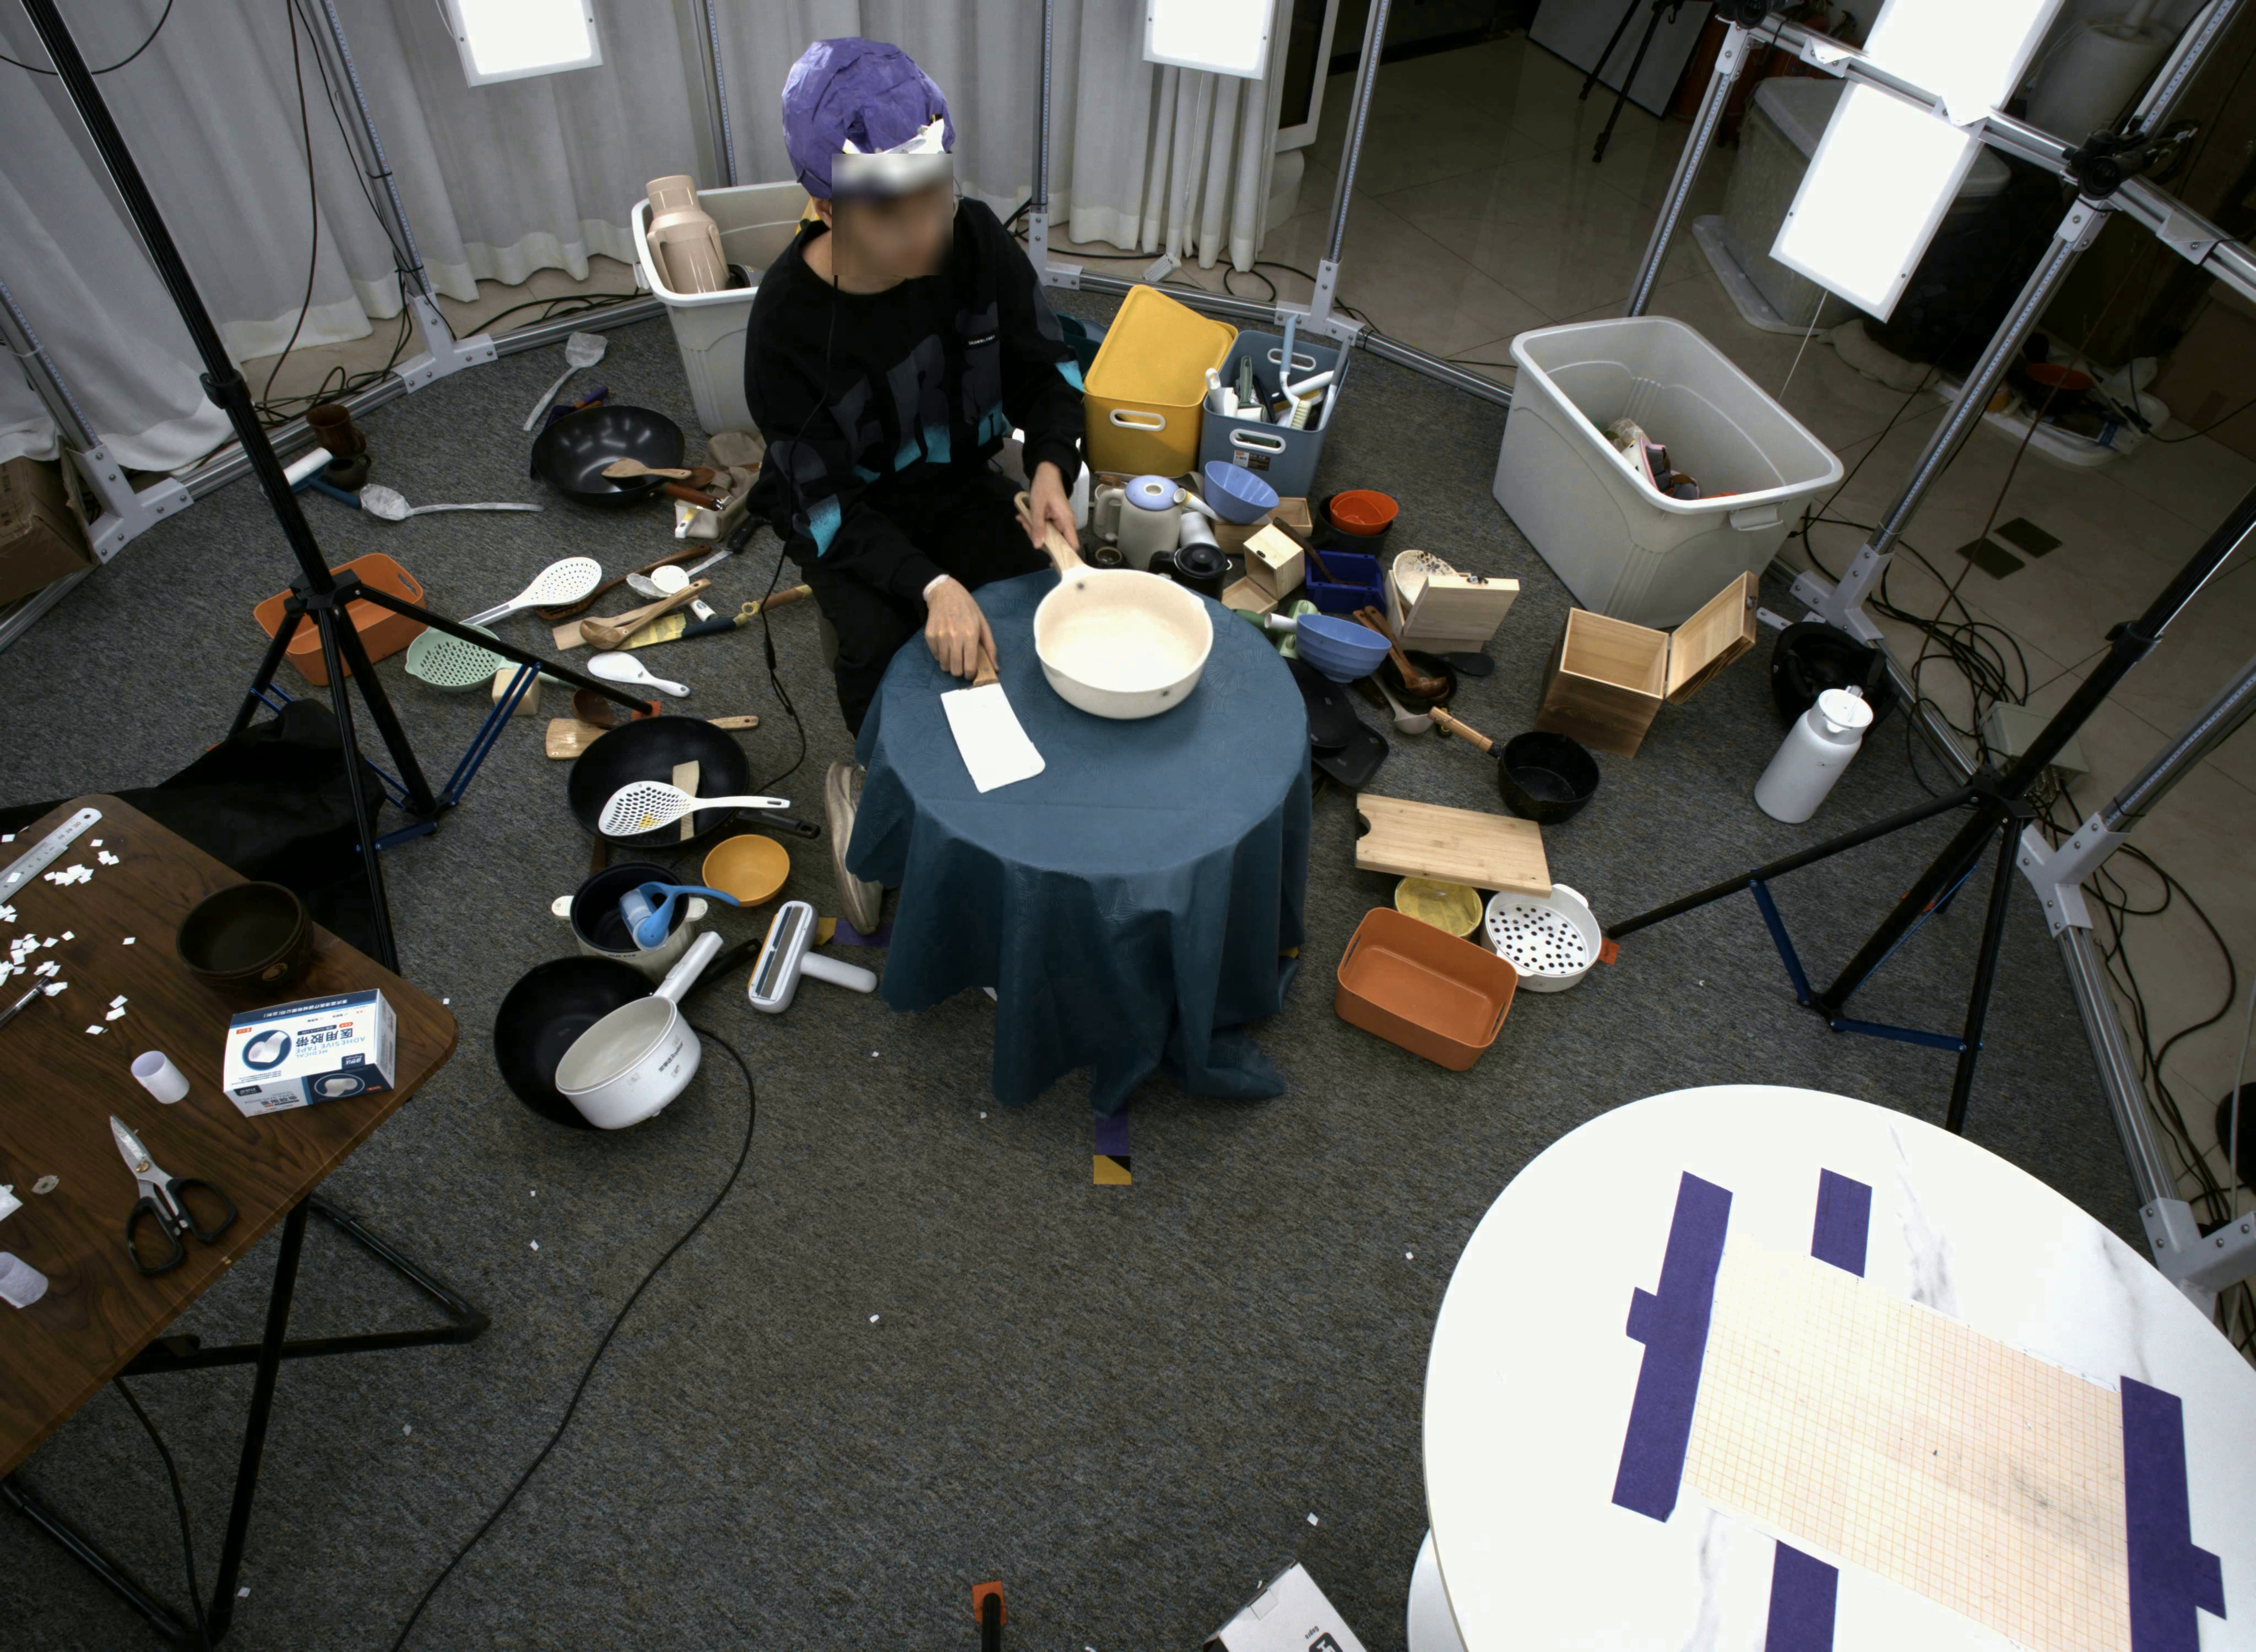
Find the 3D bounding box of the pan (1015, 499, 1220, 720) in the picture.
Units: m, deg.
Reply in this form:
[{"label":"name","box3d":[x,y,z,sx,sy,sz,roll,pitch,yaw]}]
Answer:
[{"label":"pan","box3d":[-0.045,-0.320,1.880,0.264,0.099,0.444,-25,55,-20]}]

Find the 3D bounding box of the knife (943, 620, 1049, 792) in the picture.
[{"label":"knife","box3d":[-0.197,-0.174,1.795,0.114,0.021,0.323,-12,53,-13]}]
